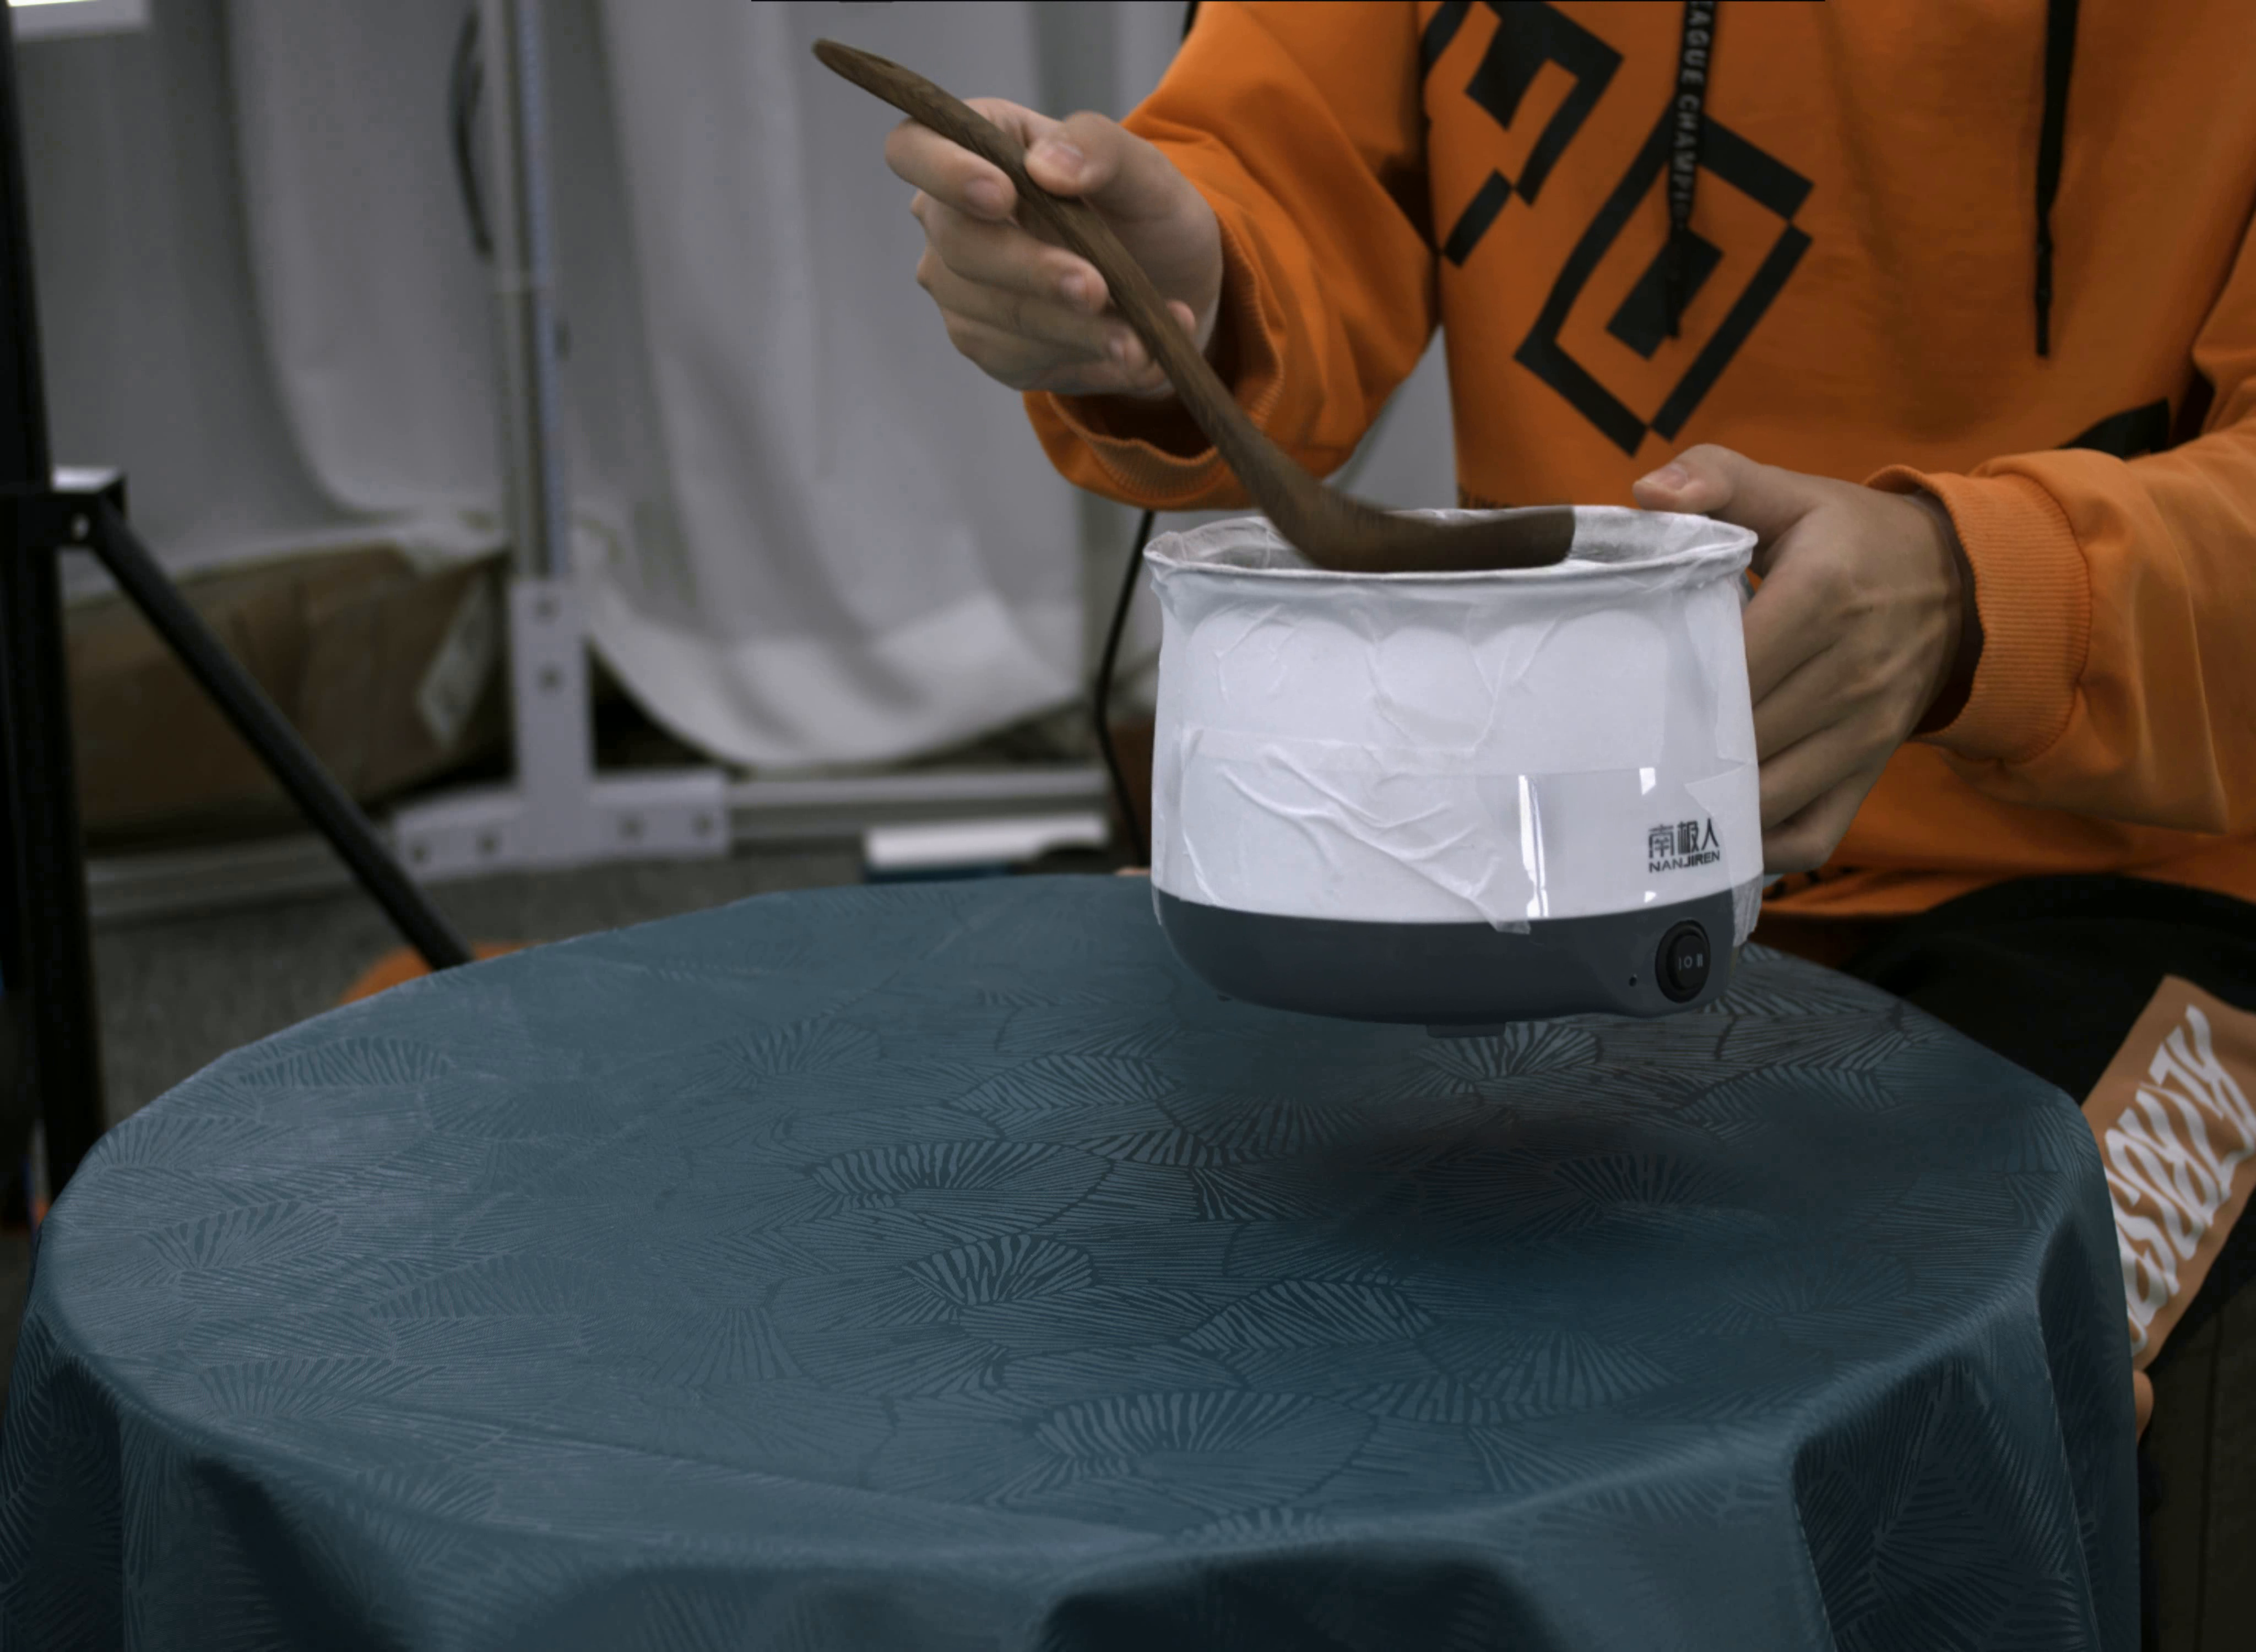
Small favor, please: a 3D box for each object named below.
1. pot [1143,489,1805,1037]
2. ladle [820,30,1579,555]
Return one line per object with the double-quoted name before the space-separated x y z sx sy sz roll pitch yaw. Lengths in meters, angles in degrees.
"pot" 0.113 -0.023 1.546 0.228 0.137 0.183 -10 12 -43
"ladle" 0.021 -0.158 1.552 0.277 0.072 0.074 49 17 16
